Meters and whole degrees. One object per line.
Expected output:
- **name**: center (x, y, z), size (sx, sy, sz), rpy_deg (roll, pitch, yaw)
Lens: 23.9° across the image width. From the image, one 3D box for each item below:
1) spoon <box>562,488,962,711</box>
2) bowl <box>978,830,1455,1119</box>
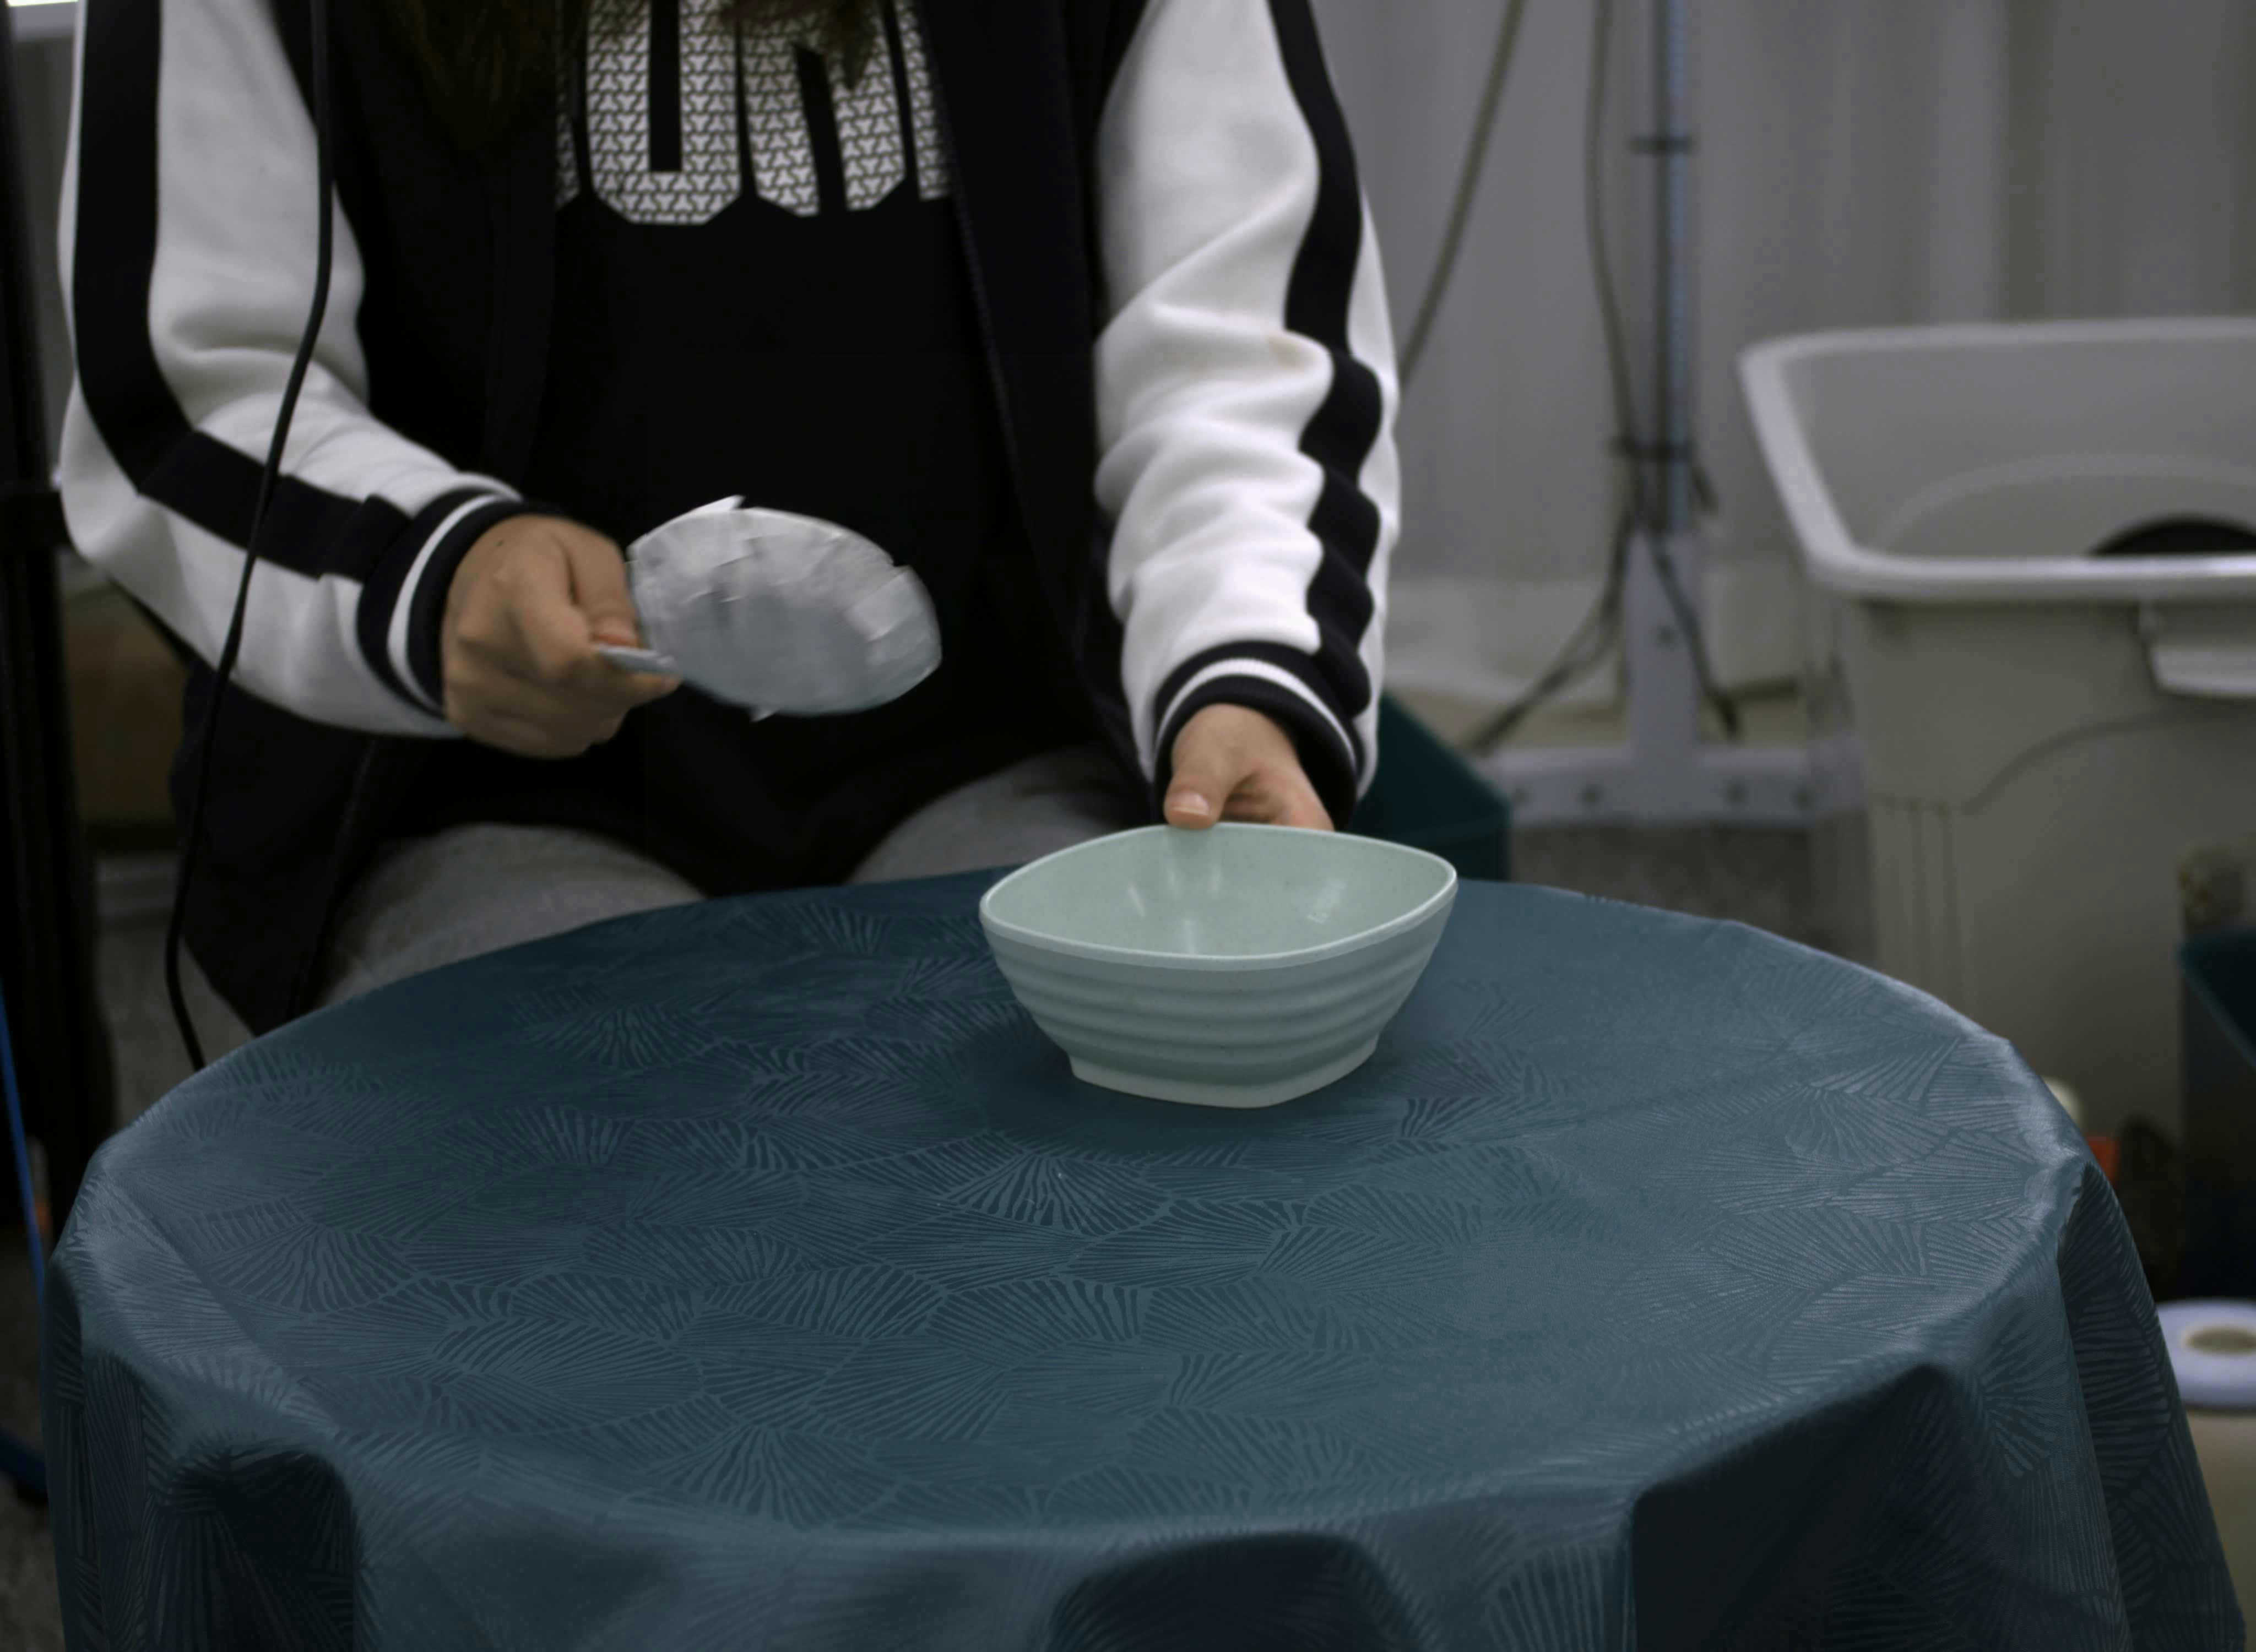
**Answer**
- **spoon**: center (-0.124, -0.072, 1.668), size (0.099, 0.059, 0.281), rpy_deg (32, -6, -18)
- **bowl**: center (0.029, 0.049, 1.665), size (0.150, 0.058, 0.152), rpy_deg (-3, 16, -1)
